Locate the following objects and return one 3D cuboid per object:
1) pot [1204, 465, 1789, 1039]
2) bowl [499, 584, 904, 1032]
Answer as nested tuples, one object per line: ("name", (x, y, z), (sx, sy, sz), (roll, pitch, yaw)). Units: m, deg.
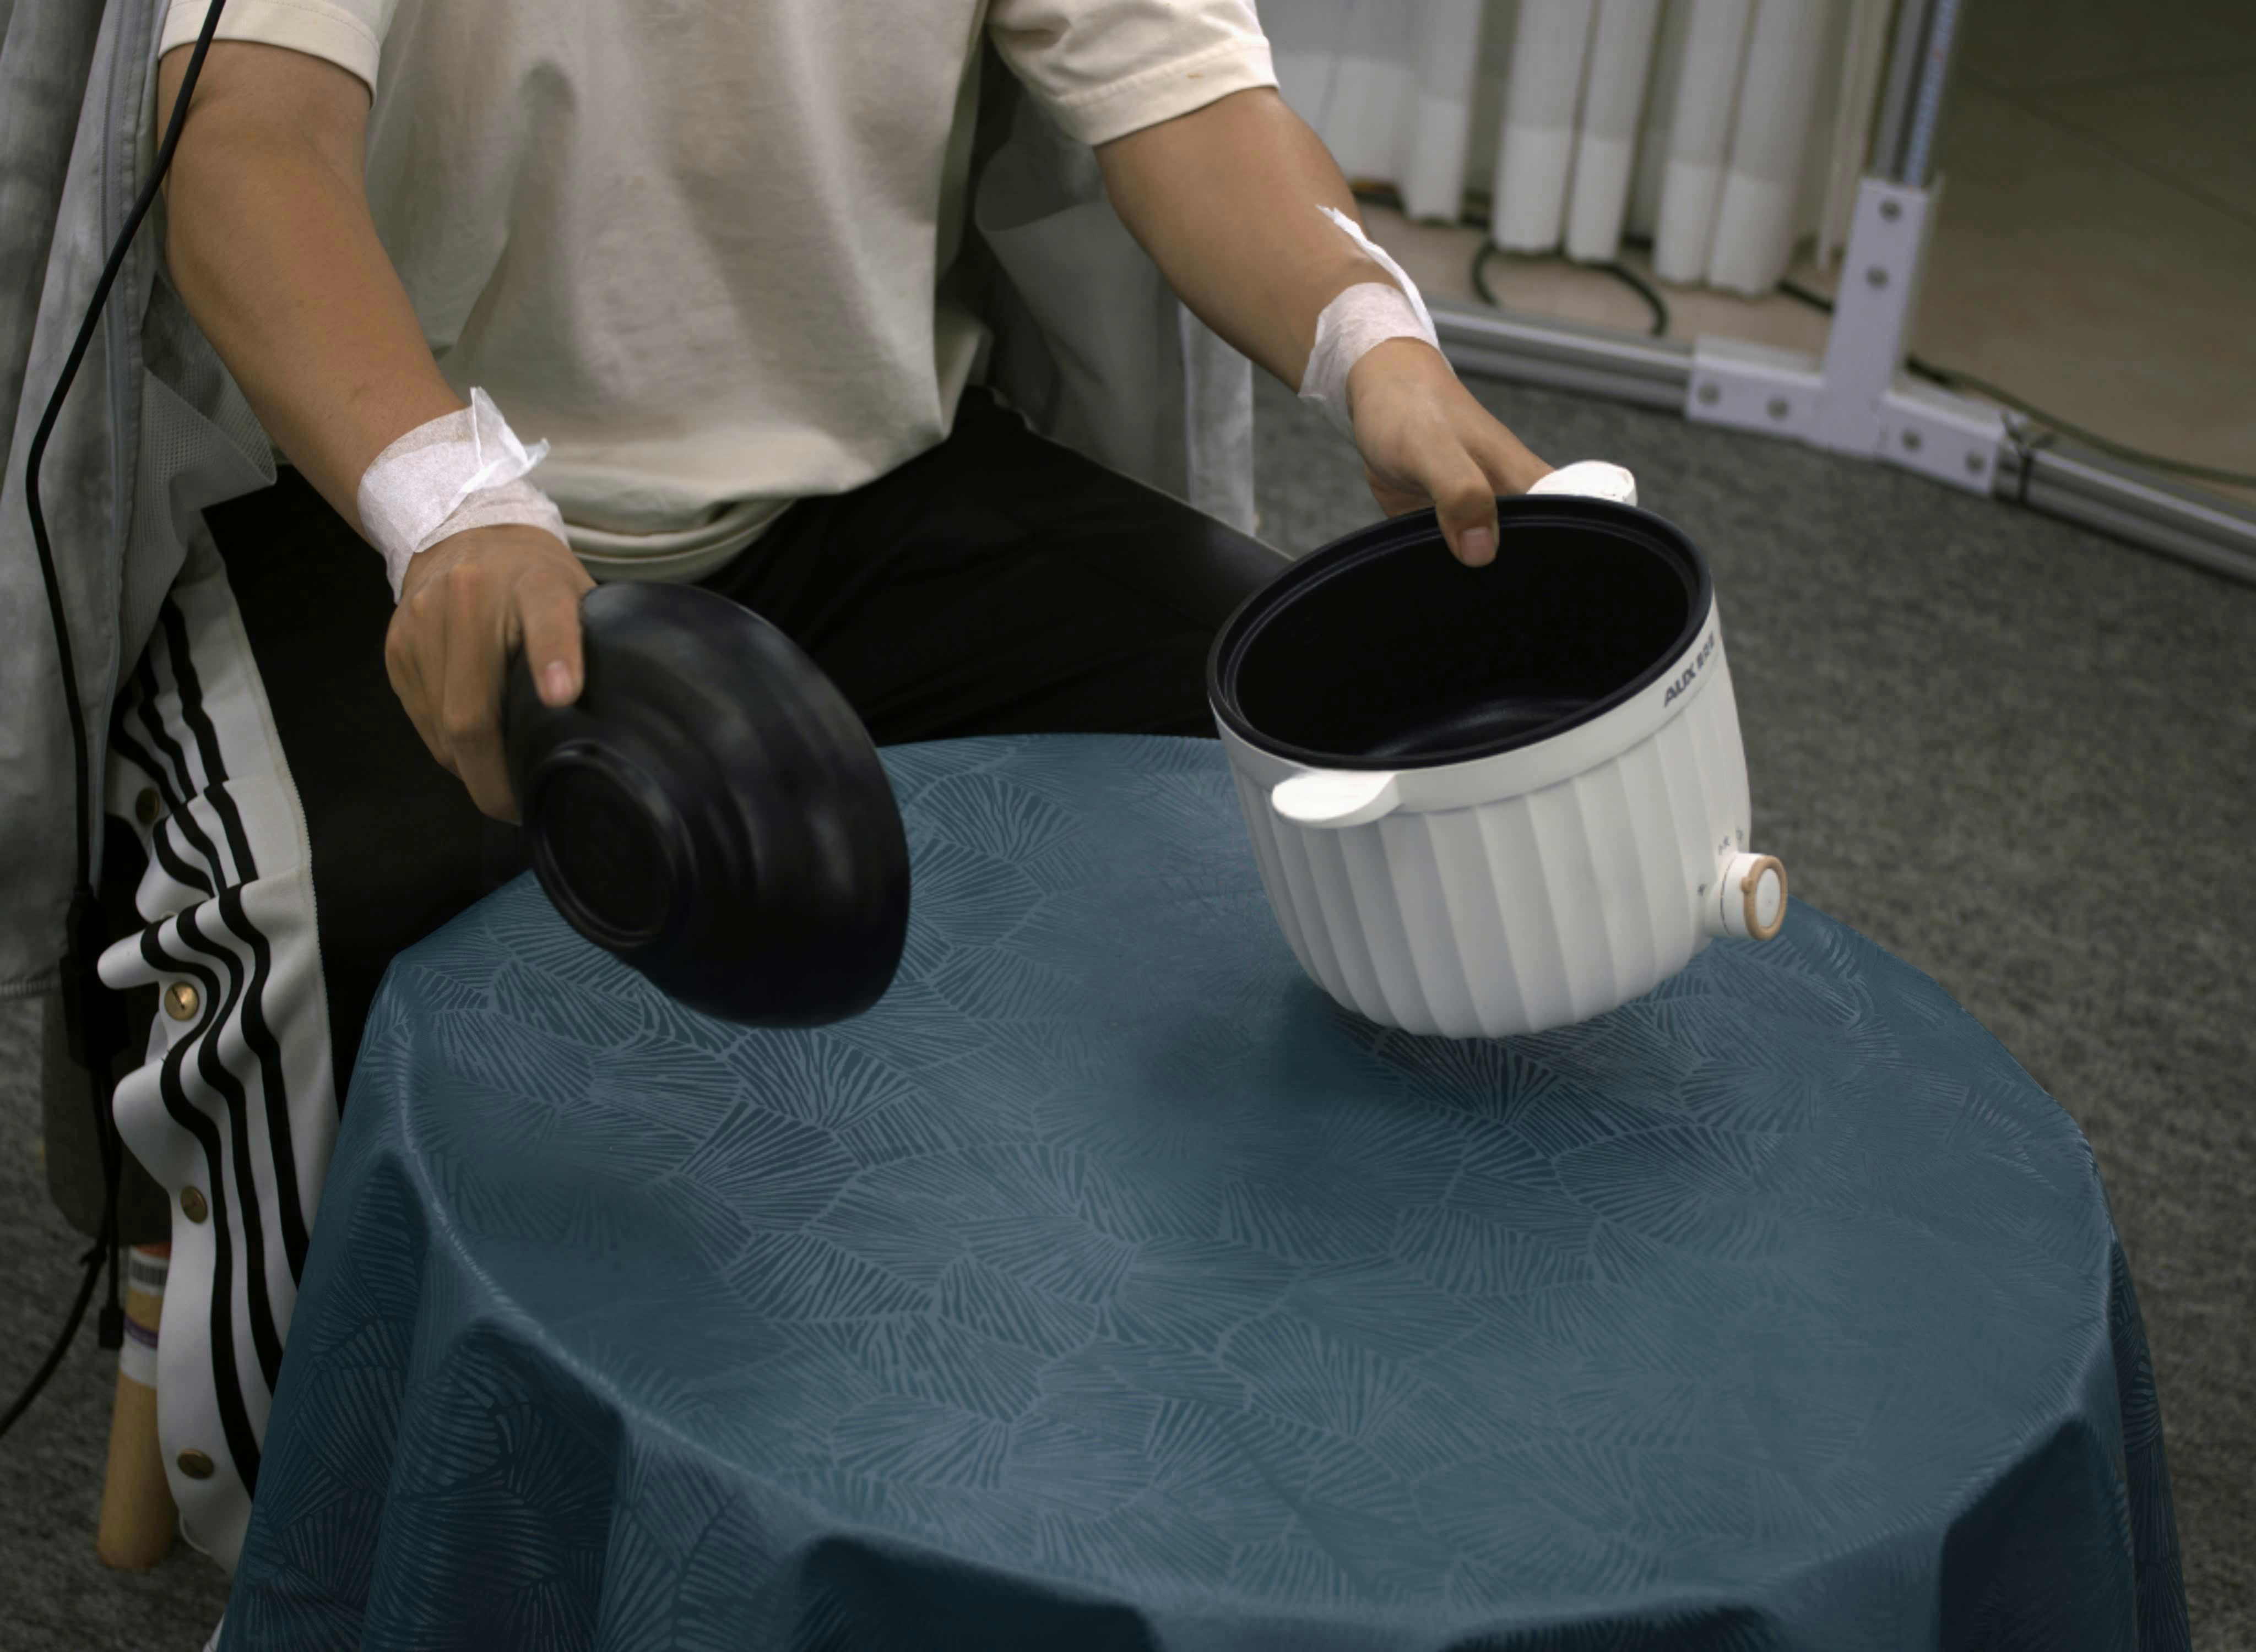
("pot", (0.135, -0.016, 1.897), (0.191, 0.142, 0.240), (1, 34, 33))
("bowl", (-0.149, 0.000, 1.714), (0.171, 0.137, 0.066), (48, 43, 15))
